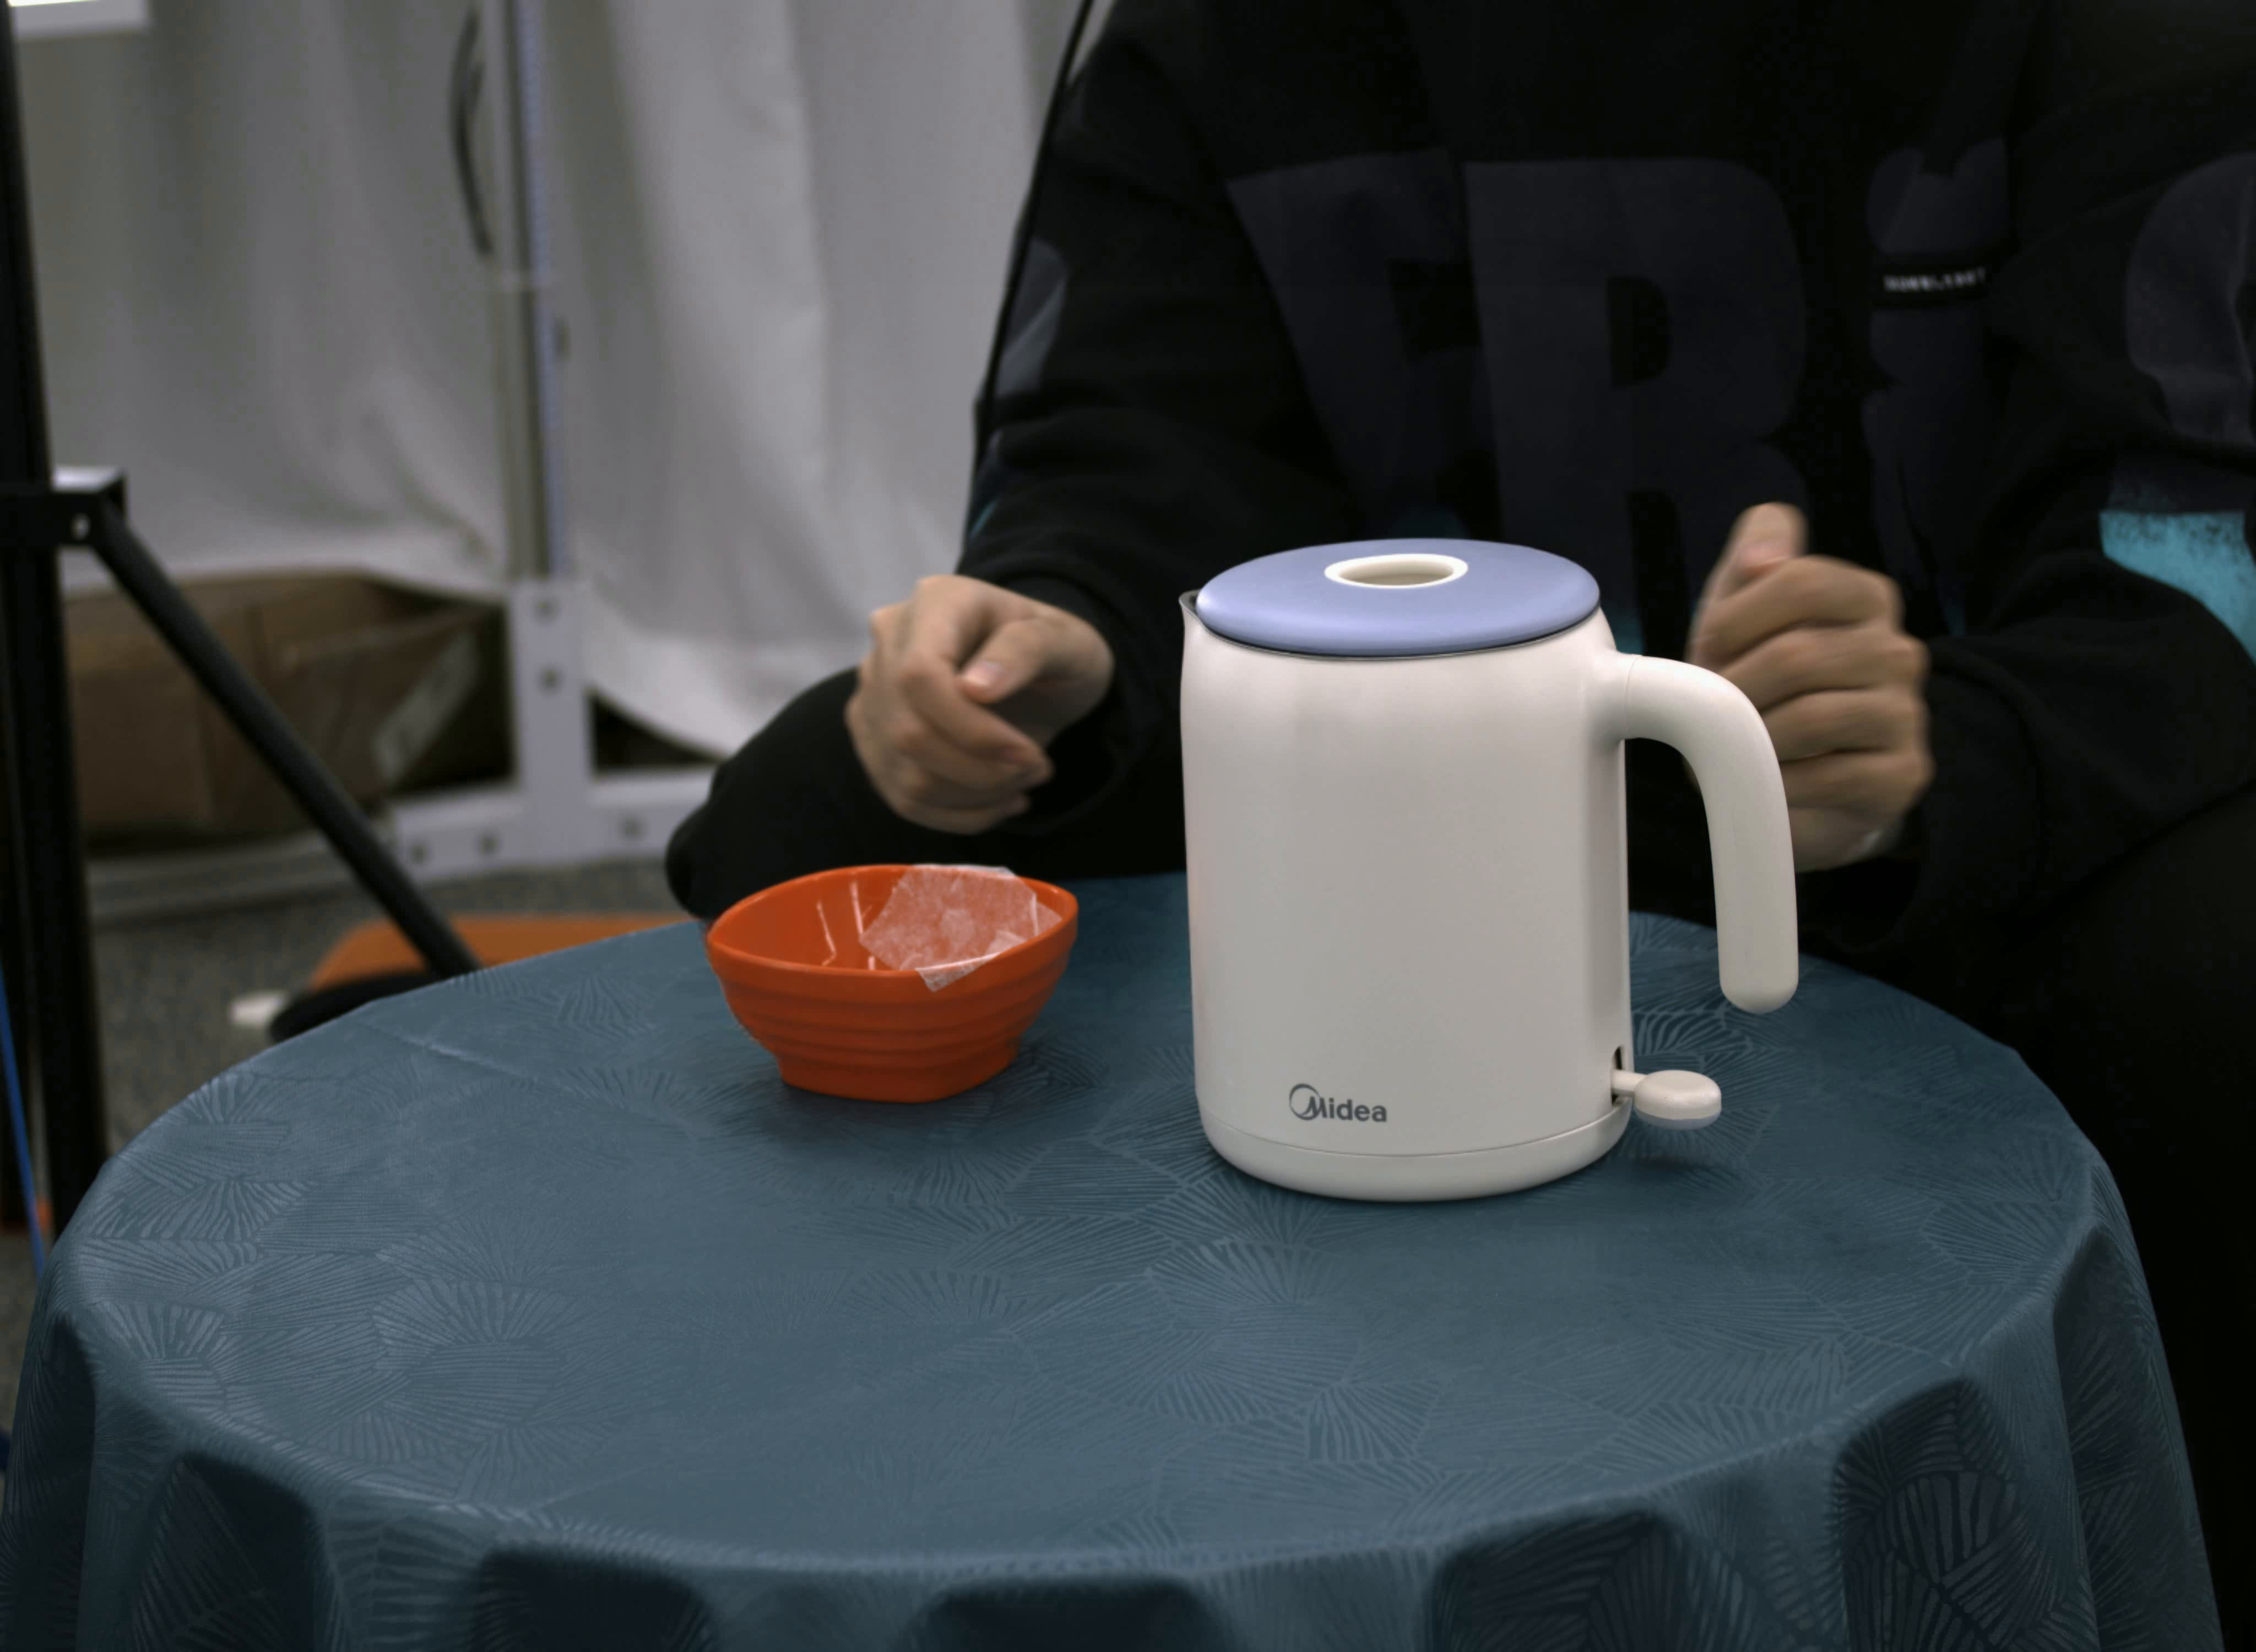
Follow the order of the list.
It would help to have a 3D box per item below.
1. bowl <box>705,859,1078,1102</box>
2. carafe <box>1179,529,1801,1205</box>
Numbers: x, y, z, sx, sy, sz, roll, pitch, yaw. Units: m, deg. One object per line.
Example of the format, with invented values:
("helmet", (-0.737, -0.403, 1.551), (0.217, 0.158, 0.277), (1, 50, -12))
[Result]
("bowl", (-0.072, 0.051, 1.674), (0.118, 0.051, 0.119), (-5, 17, 0))
("carafe", (0.105, 0.014, 1.561), (0.193, 0.182, 0.130), (6, 19, 22))
